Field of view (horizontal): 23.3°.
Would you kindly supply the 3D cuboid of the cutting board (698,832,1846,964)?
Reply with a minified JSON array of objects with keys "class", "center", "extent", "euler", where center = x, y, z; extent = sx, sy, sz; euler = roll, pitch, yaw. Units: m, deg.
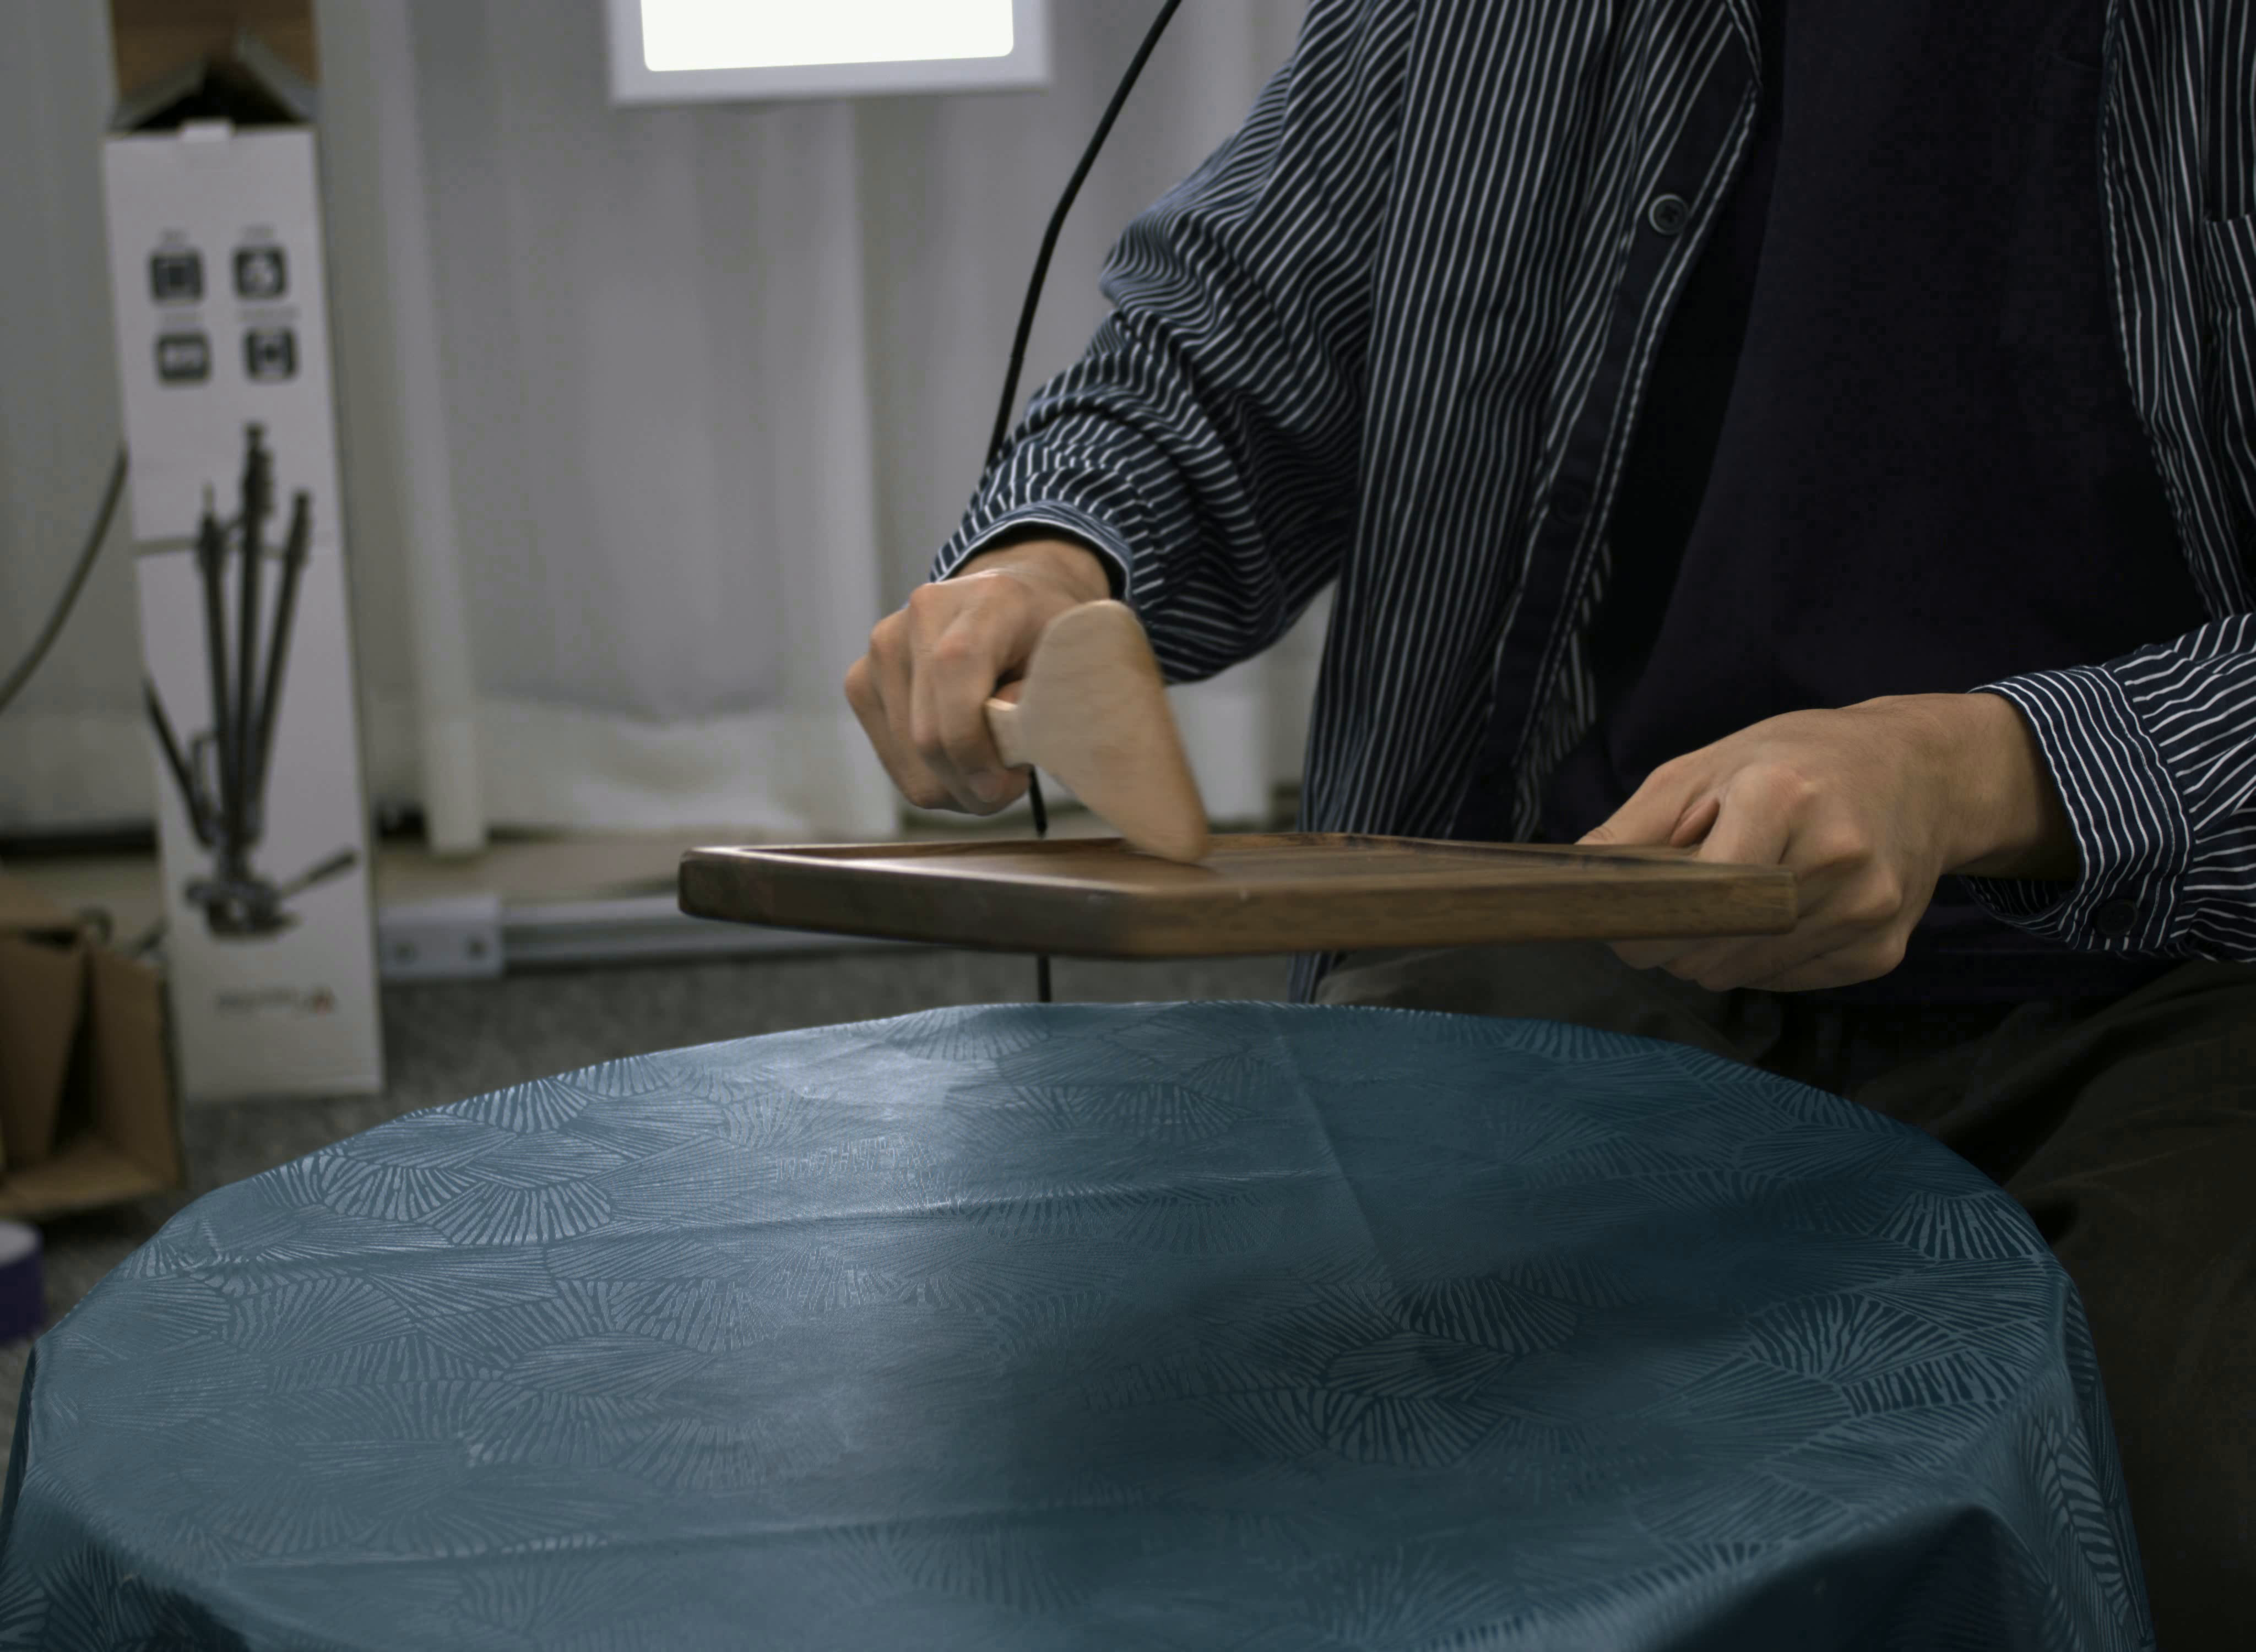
[{"class":"cutting board","center":[0.075,0.017,1.530],"extent":[0.350,0.023,0.202],"euler":[-1,3,-39]}]

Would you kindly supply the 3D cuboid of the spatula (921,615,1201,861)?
[{"class":"spatula","center":[-0.027,-0.026,1.681],"extent":[0.016,0.080,0.328],"euler":[-20,6,-10]}]
